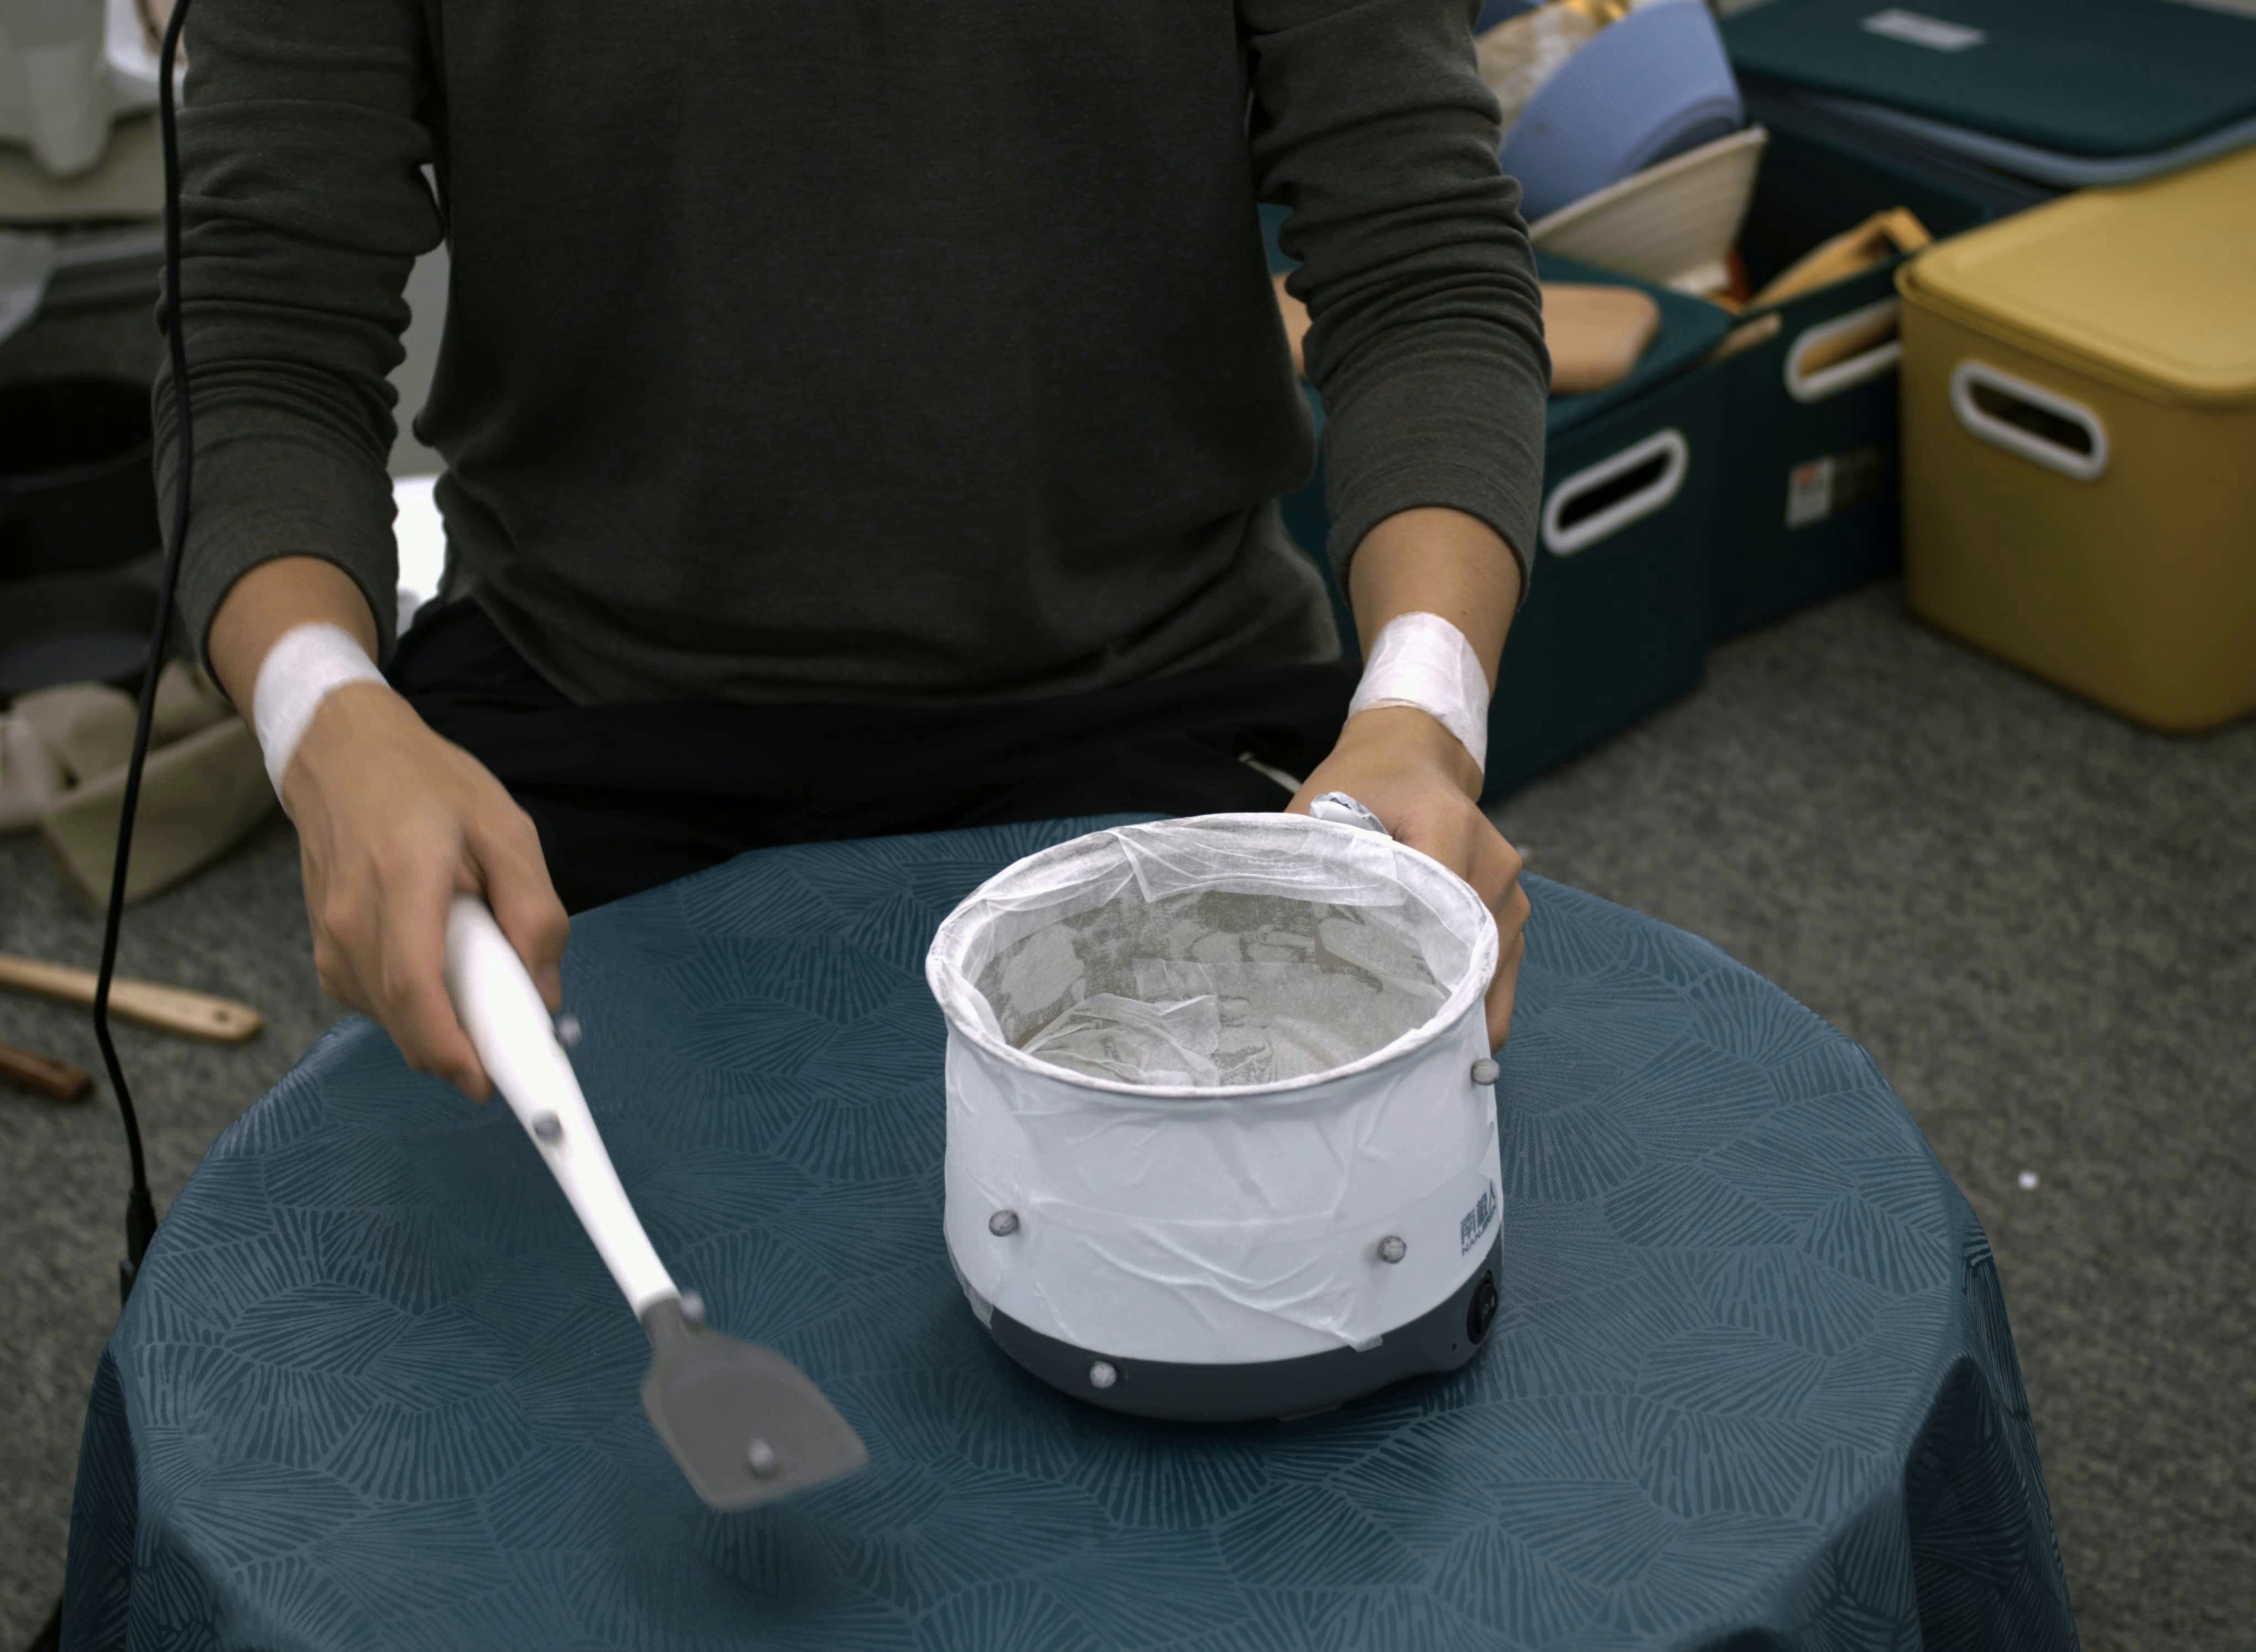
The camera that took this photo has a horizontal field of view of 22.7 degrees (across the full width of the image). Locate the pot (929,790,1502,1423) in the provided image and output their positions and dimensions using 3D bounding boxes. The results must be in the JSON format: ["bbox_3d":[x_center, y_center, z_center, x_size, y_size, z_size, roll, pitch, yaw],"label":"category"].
[{"bbox_3d":[0.040,0.081,1.789,0.177,0.135,0.238,9,29,21],"label":"pot"}]

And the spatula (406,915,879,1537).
[{"bbox_3d":[-0.157,0.125,1.735,0.059,0.032,0.290,-10,40,-25],"label":"spatula"}]
